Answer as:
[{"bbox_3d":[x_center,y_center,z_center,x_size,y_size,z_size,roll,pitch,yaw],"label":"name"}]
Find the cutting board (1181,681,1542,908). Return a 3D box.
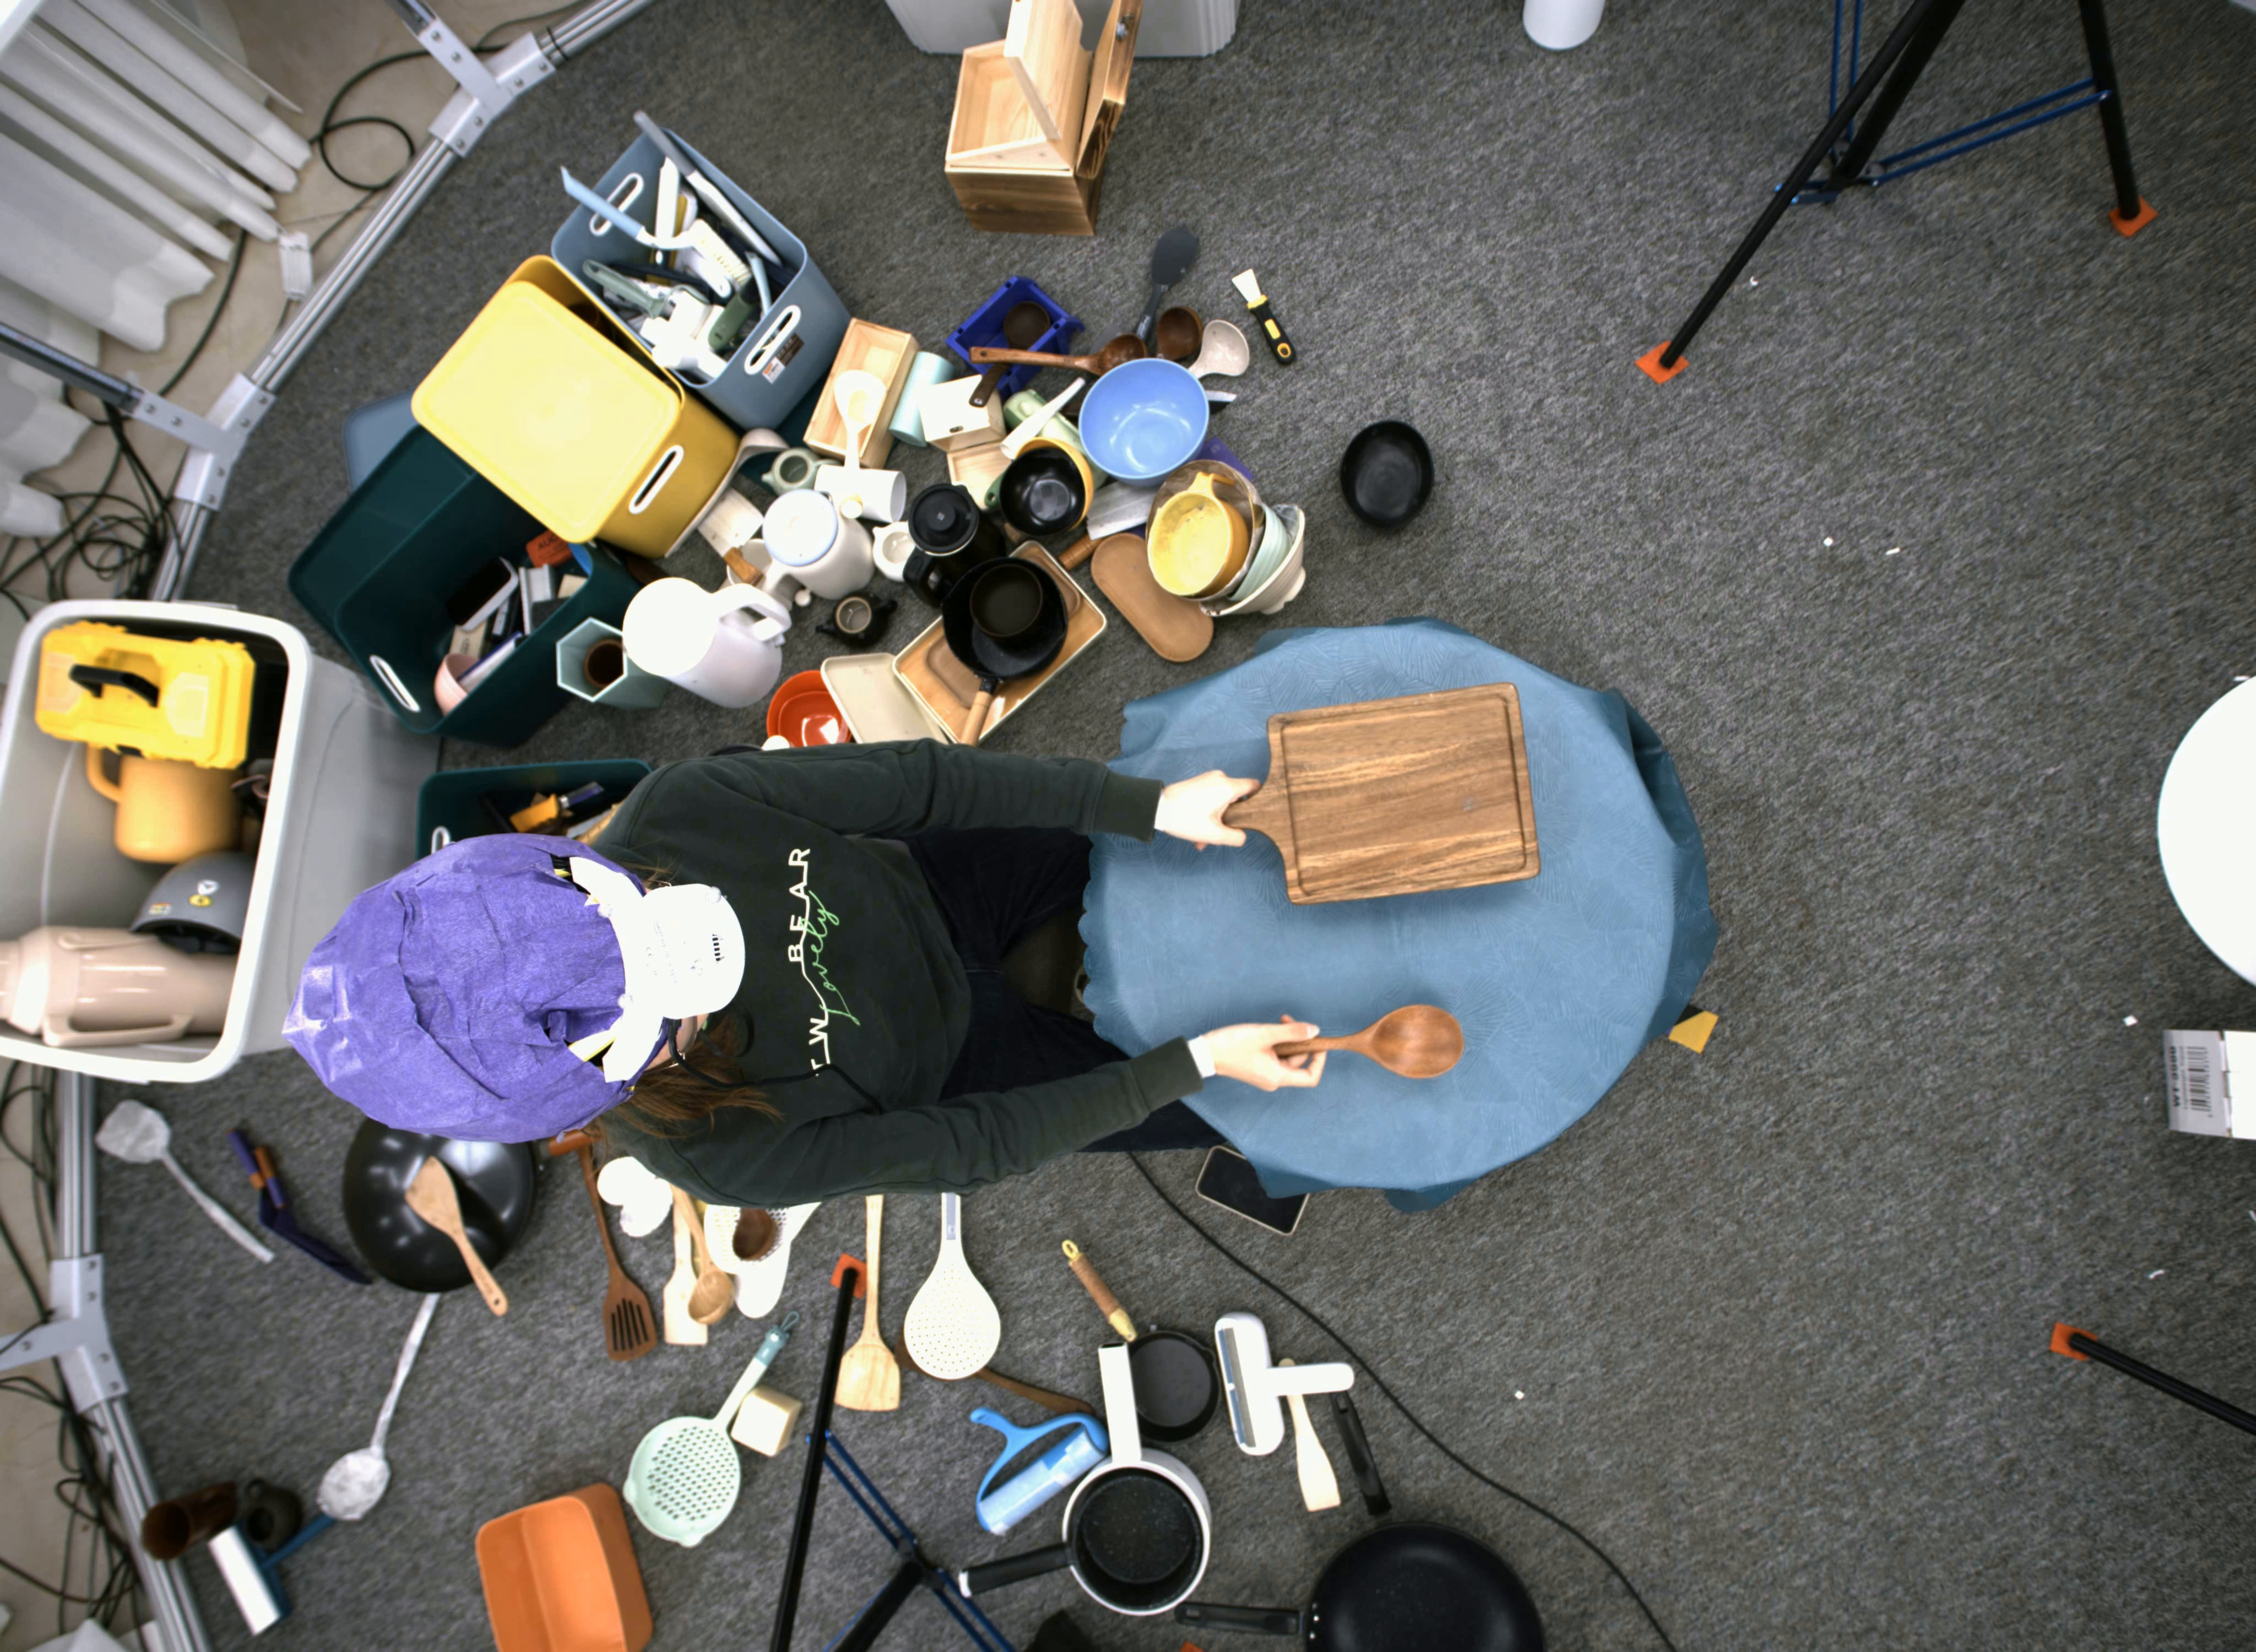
[{"bbox_3d":[0.226,-0.025,1.392,0.354,0.023,0.201,-7,93,13],"label":"cutting board"}]

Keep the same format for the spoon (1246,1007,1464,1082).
[{"bbox_3d":[0.227,0.219,1.389,0.216,0.017,0.075,-3,92,6],"label":"spoon"}]
